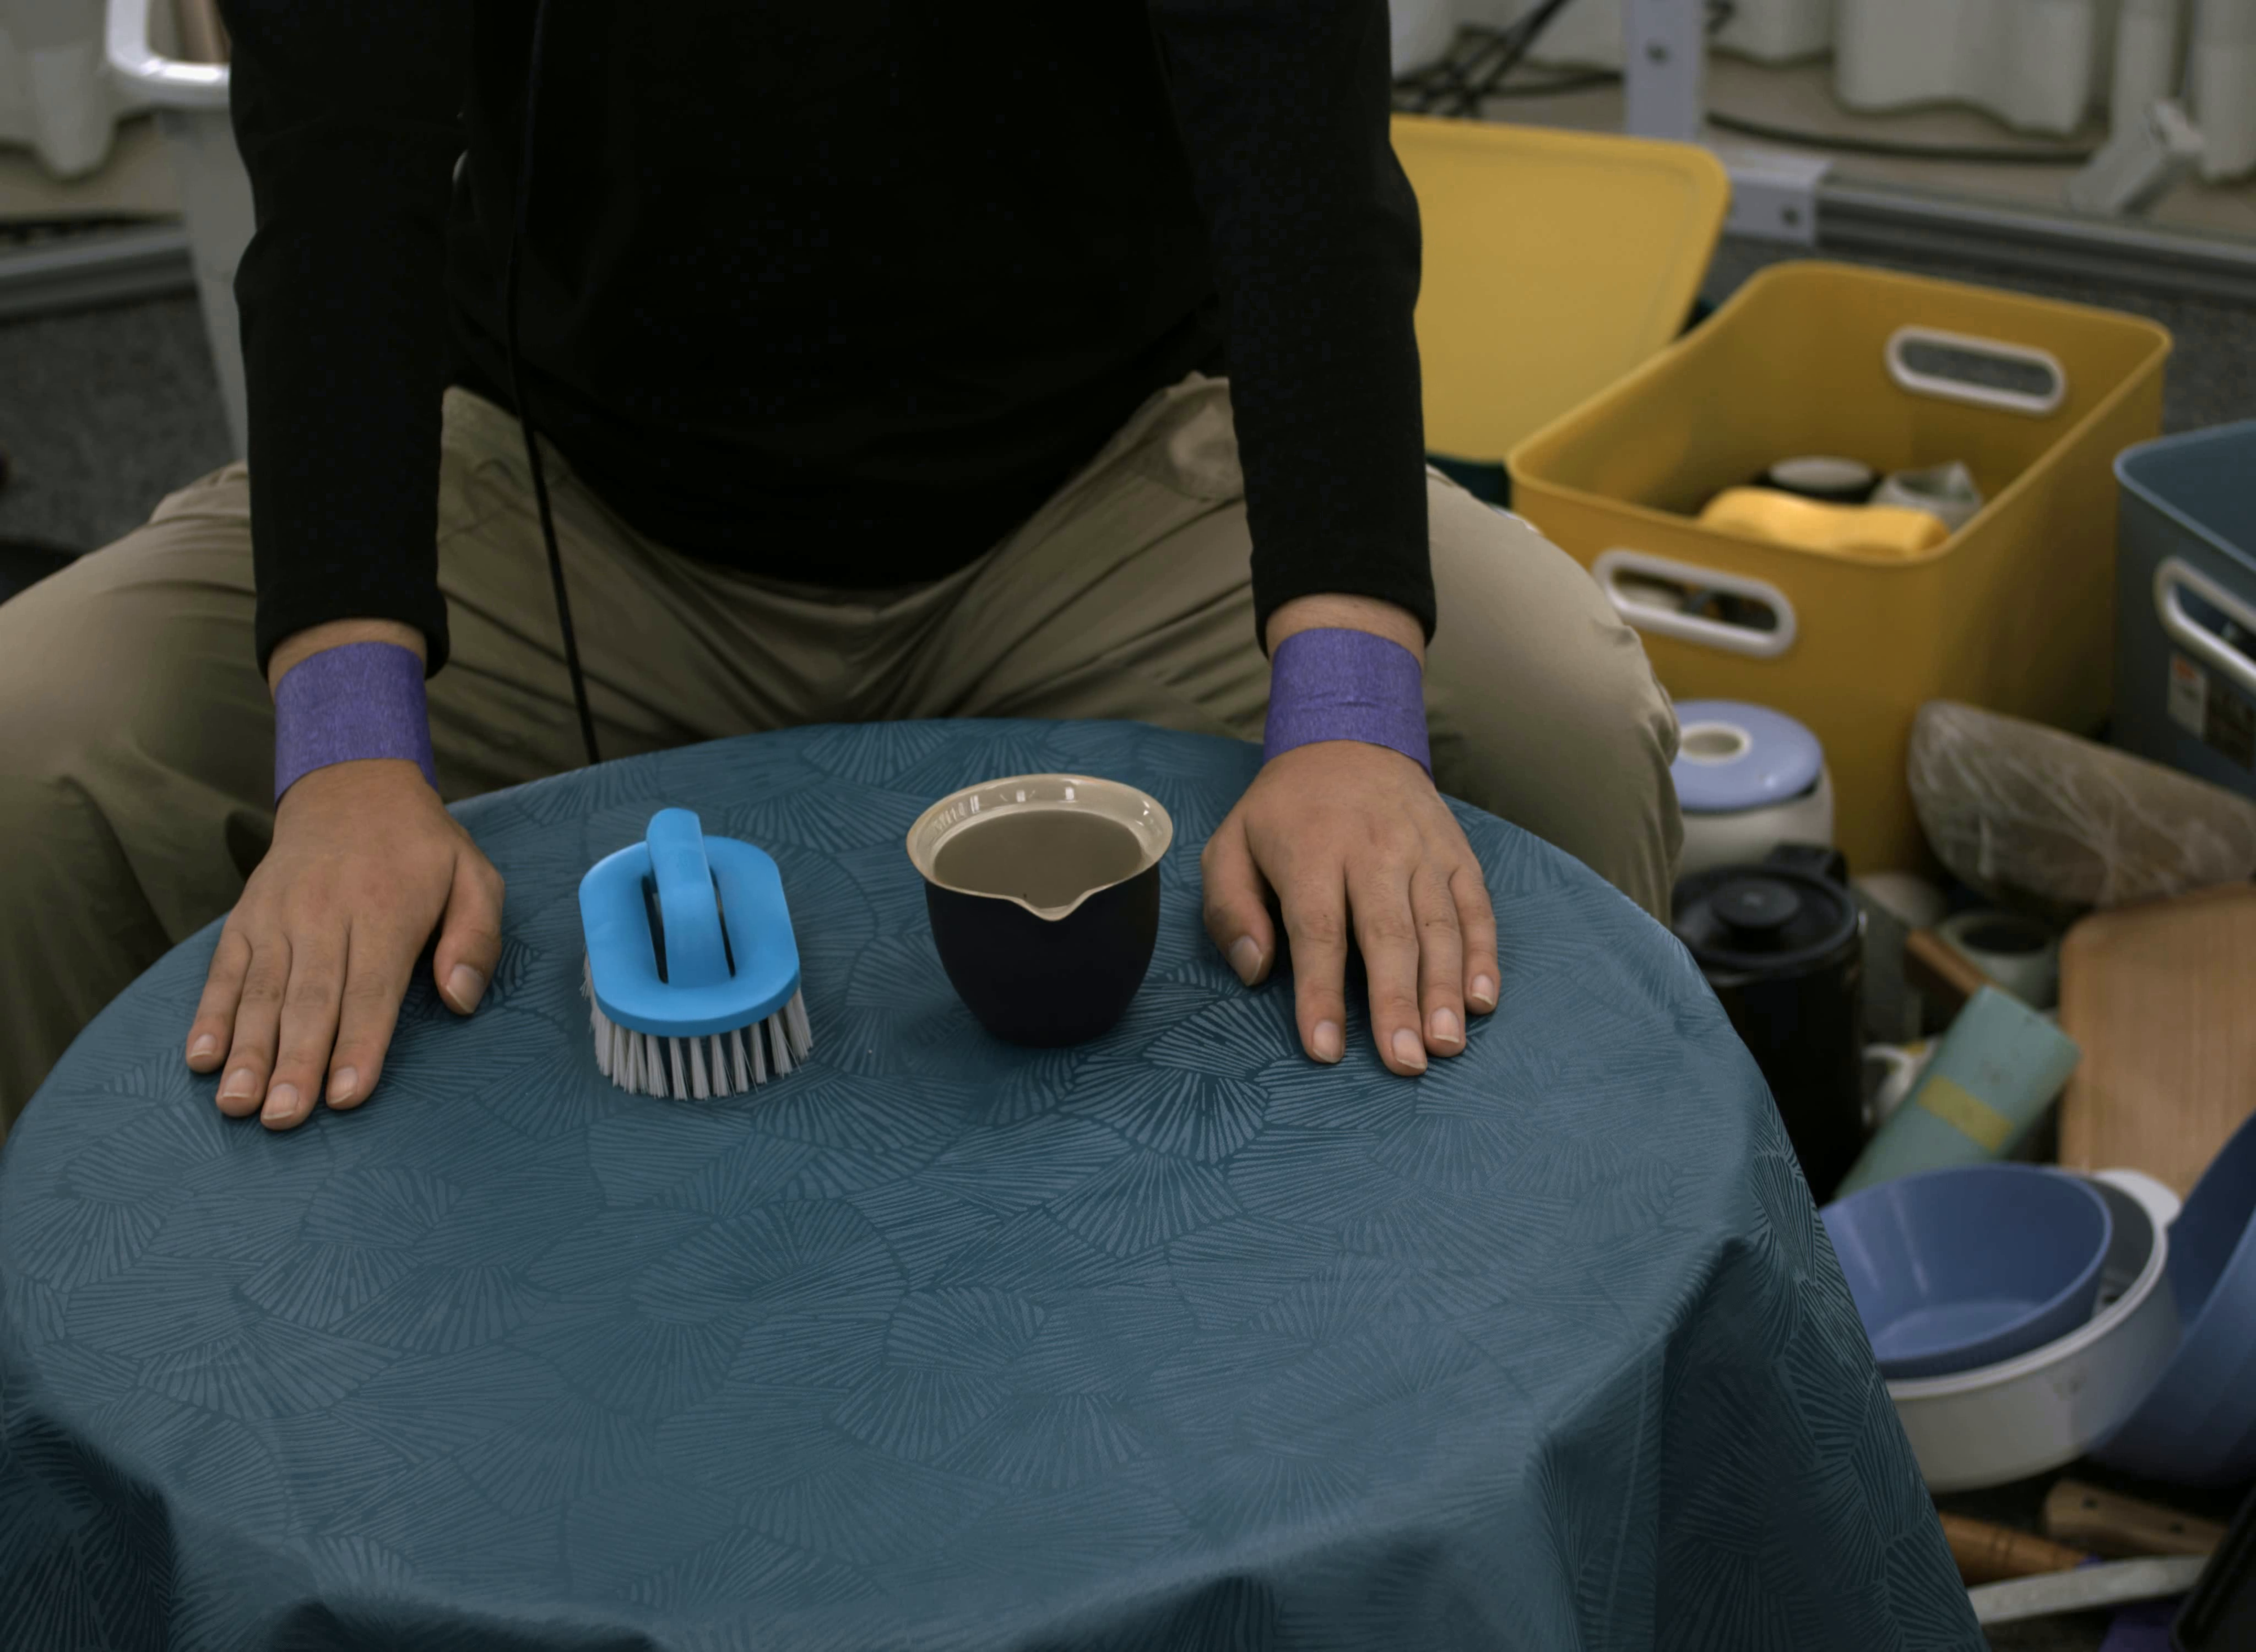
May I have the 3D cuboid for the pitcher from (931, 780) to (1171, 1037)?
[{"bbox_3d":[-0.026,0.033,1.954,0.083,0.070,0.097,-1,29,1],"label":"pitcher"}]

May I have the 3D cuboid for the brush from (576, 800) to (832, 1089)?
[{"bbox_3d":[-0.153,0.033,1.976,0.084,0.063,0.143,-10,26,-4],"label":"brush"}]
